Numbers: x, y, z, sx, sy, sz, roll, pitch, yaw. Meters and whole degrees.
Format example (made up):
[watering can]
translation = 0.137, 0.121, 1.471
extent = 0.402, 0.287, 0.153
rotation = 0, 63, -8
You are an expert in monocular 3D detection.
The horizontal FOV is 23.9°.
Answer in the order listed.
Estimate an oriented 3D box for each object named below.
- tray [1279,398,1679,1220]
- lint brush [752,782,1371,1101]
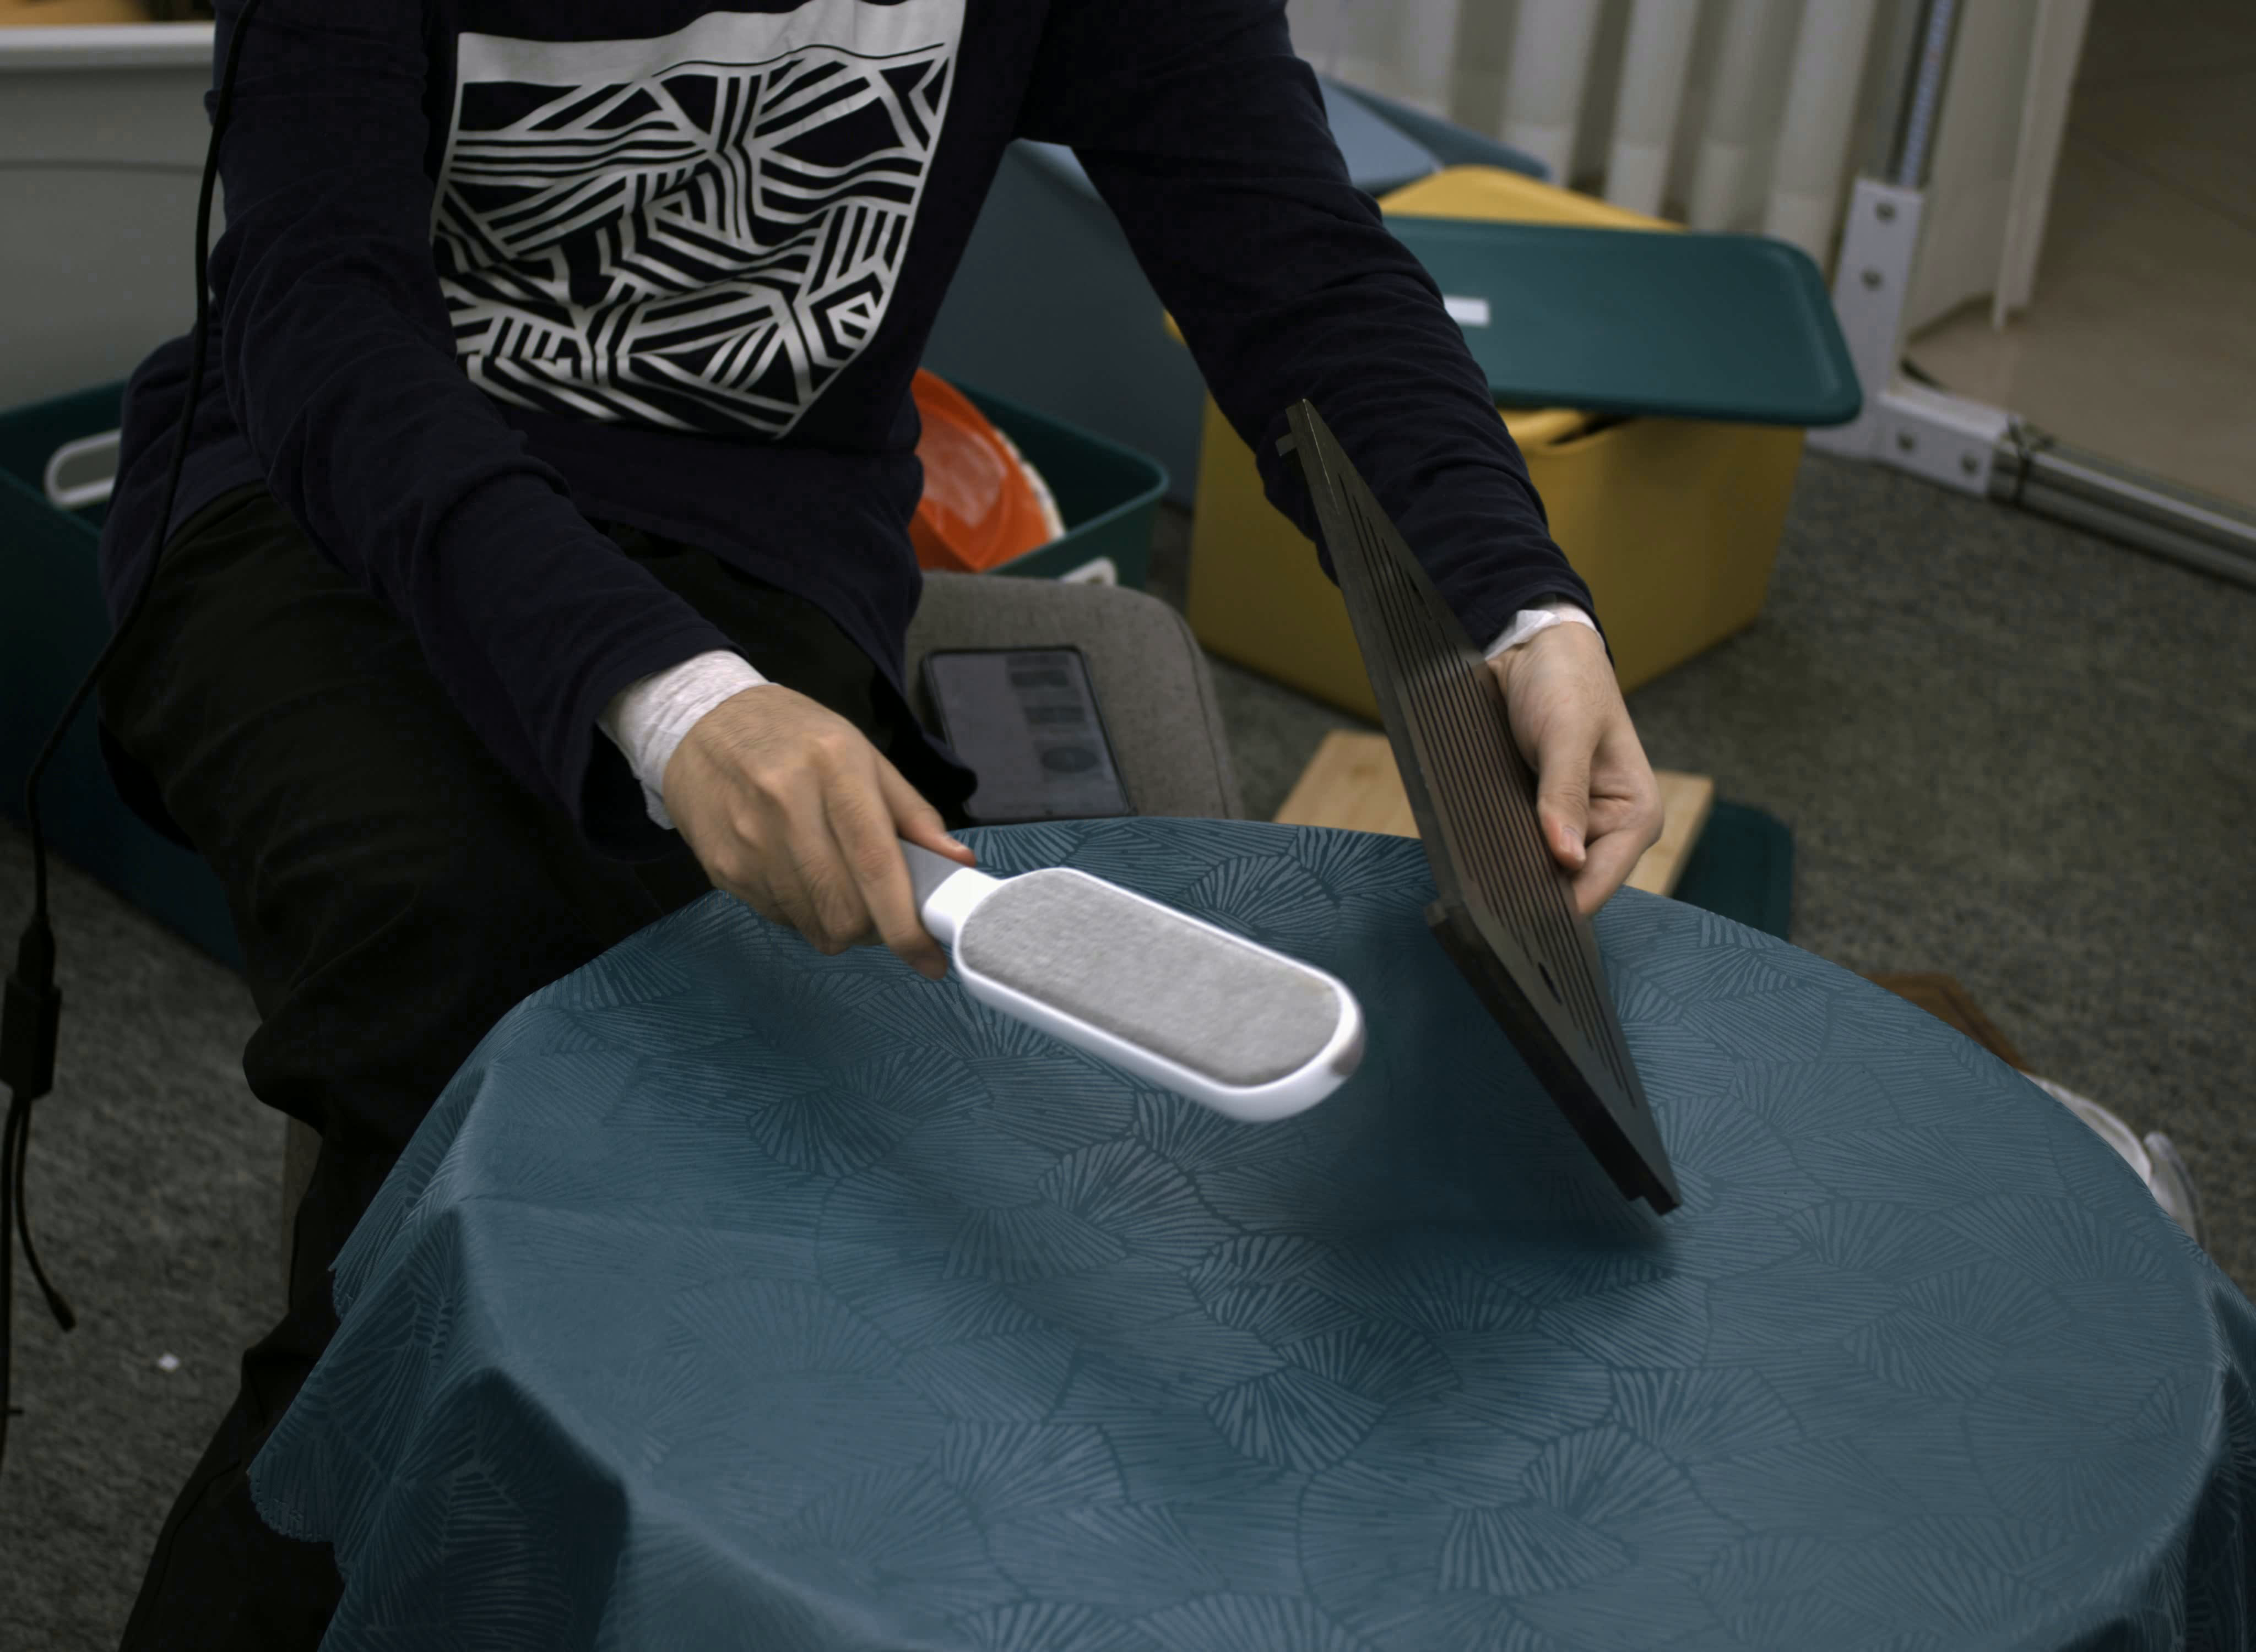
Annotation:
[tray]
translation = 0.119, -0.009, 1.873
extent = 0.018, 0.168, 0.309
rotation = -28, 39, 12
[lint brush]
translation = -0.029, 0.031, 1.785
extent = 0.060, 0.021, 0.311
rotation = -47, 39, -19
